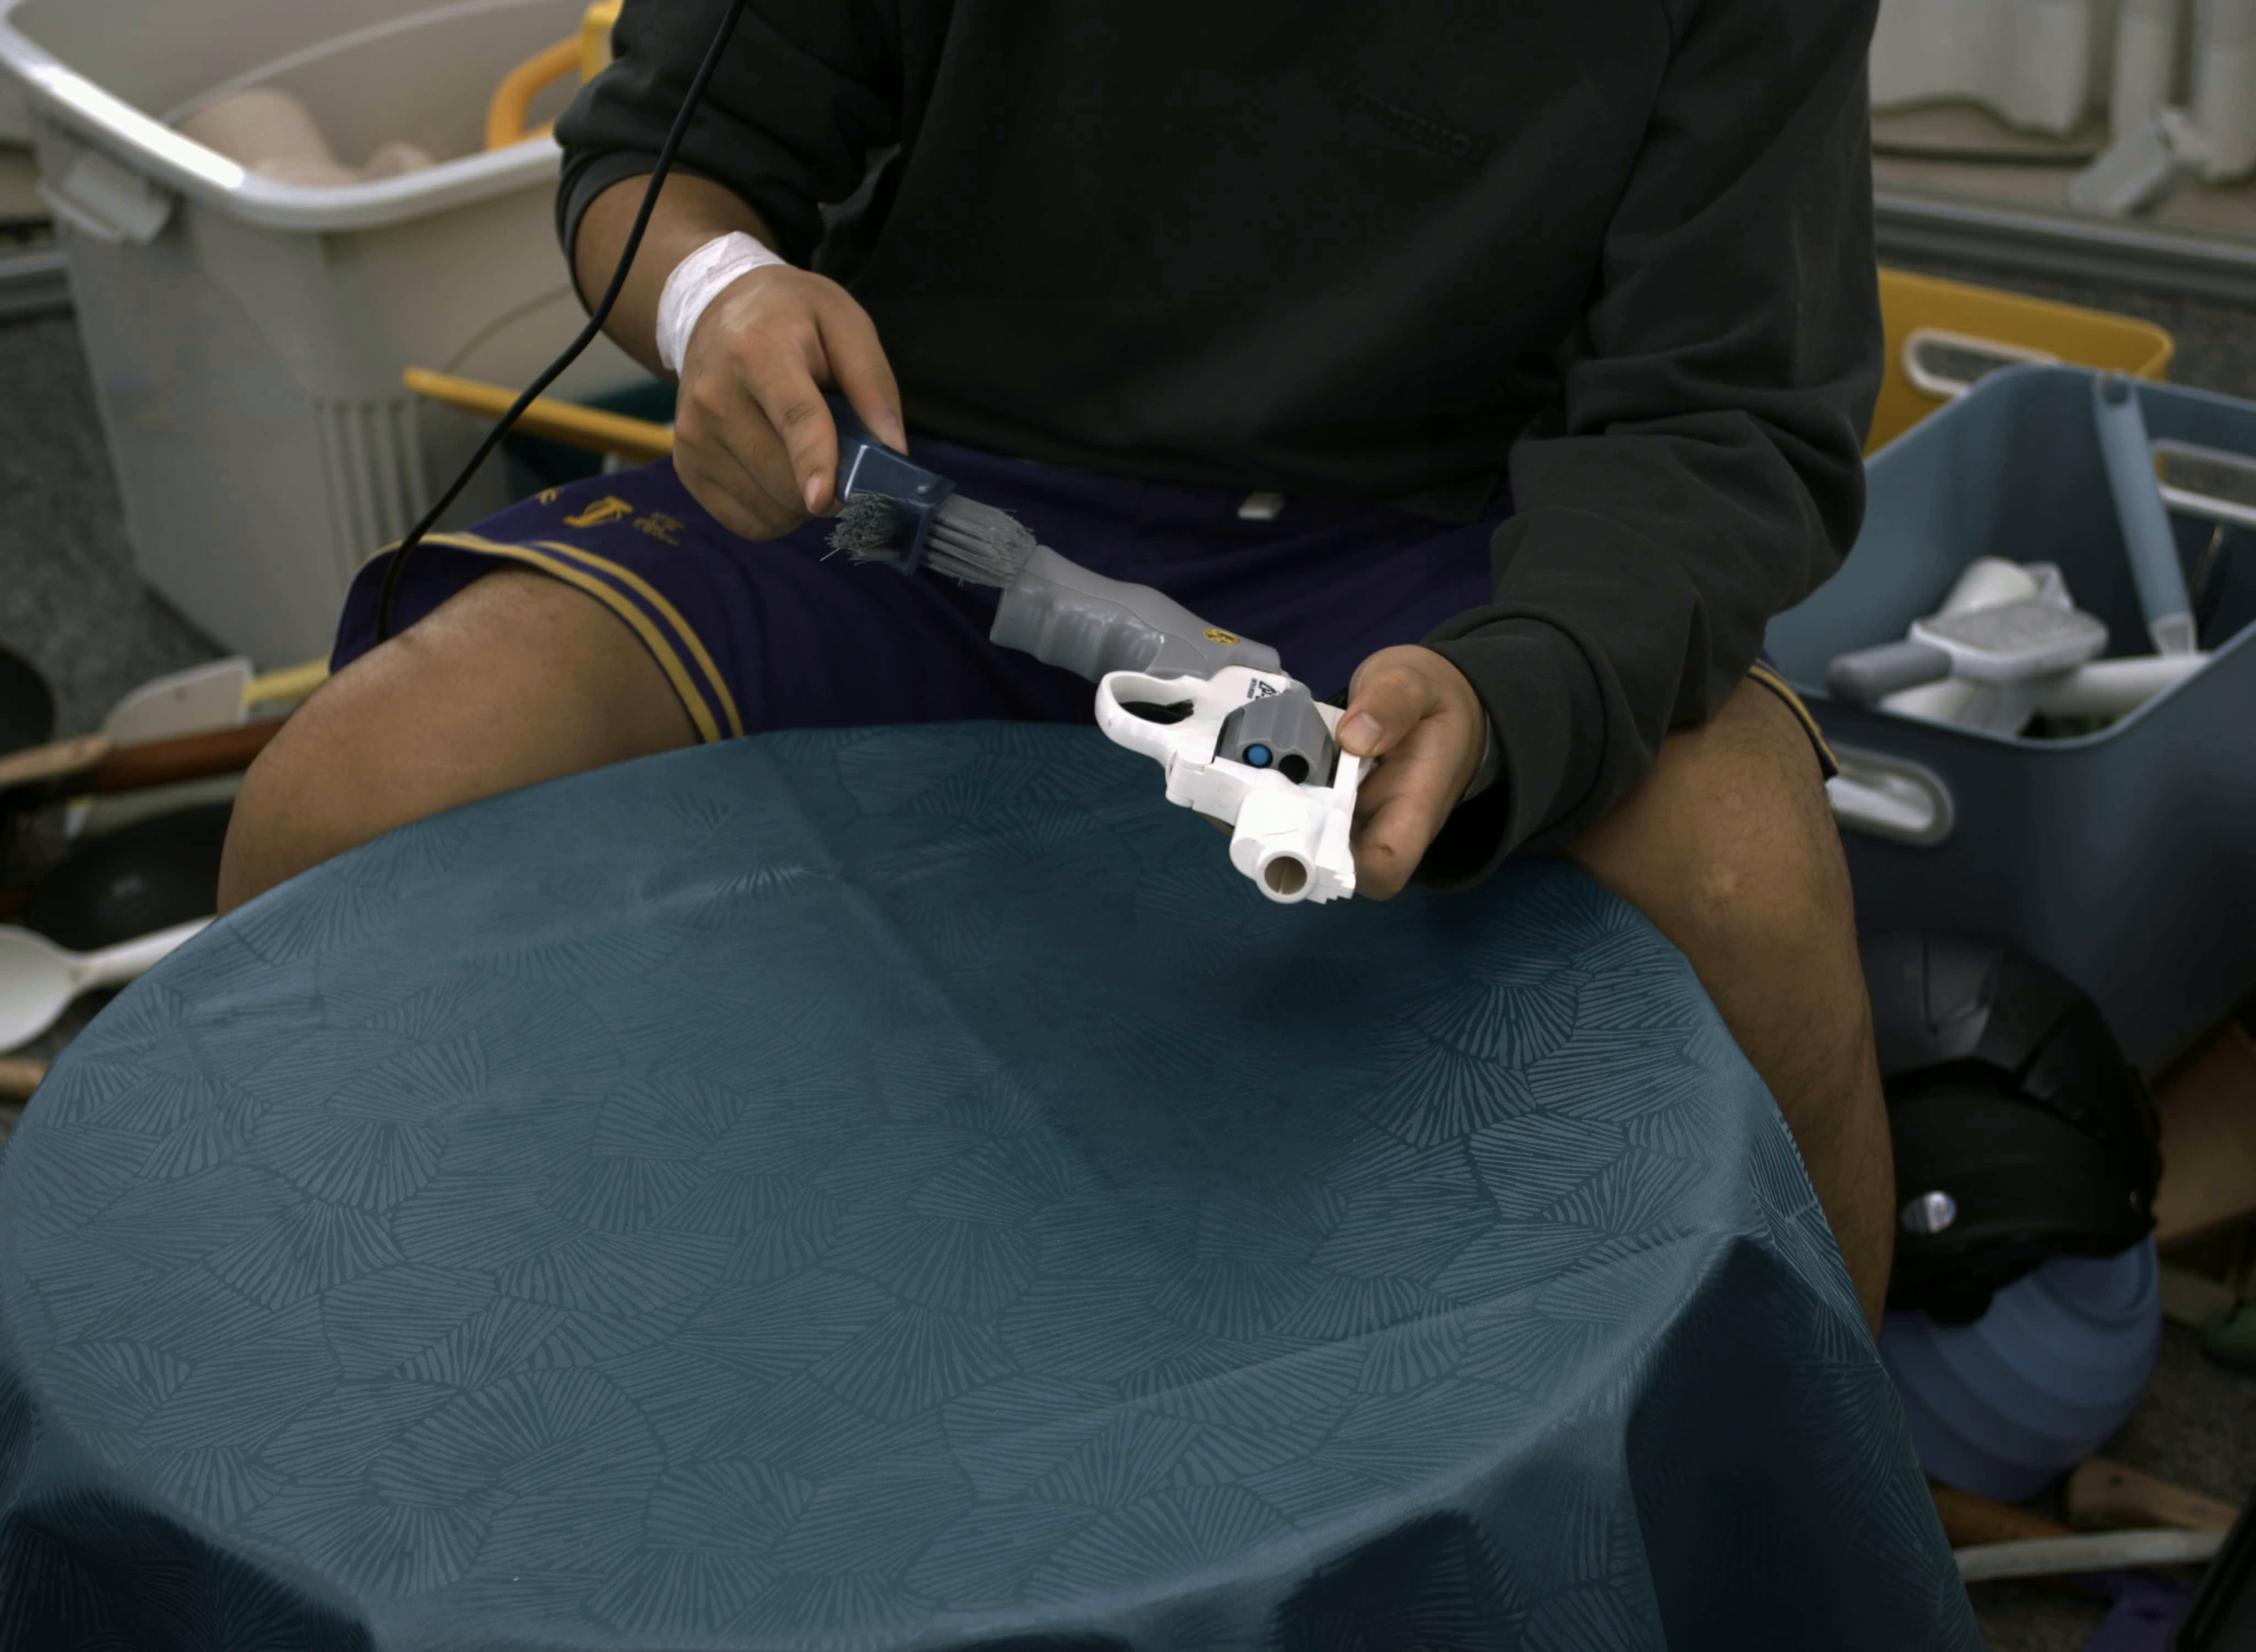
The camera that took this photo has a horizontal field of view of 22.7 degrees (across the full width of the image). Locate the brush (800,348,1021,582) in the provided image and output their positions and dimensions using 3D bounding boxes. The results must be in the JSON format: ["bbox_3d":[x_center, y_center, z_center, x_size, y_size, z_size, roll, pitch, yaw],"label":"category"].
[{"bbox_3d":[-0.102,-0.132,2.014,0.095,0.033,0.274,13,13,-22],"label":"brush"}]

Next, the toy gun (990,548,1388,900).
[{"bbox_3d":[0.017,-0.035,1.894,0.141,0.038,0.212,16,21,-1],"label":"toy gun"}]
